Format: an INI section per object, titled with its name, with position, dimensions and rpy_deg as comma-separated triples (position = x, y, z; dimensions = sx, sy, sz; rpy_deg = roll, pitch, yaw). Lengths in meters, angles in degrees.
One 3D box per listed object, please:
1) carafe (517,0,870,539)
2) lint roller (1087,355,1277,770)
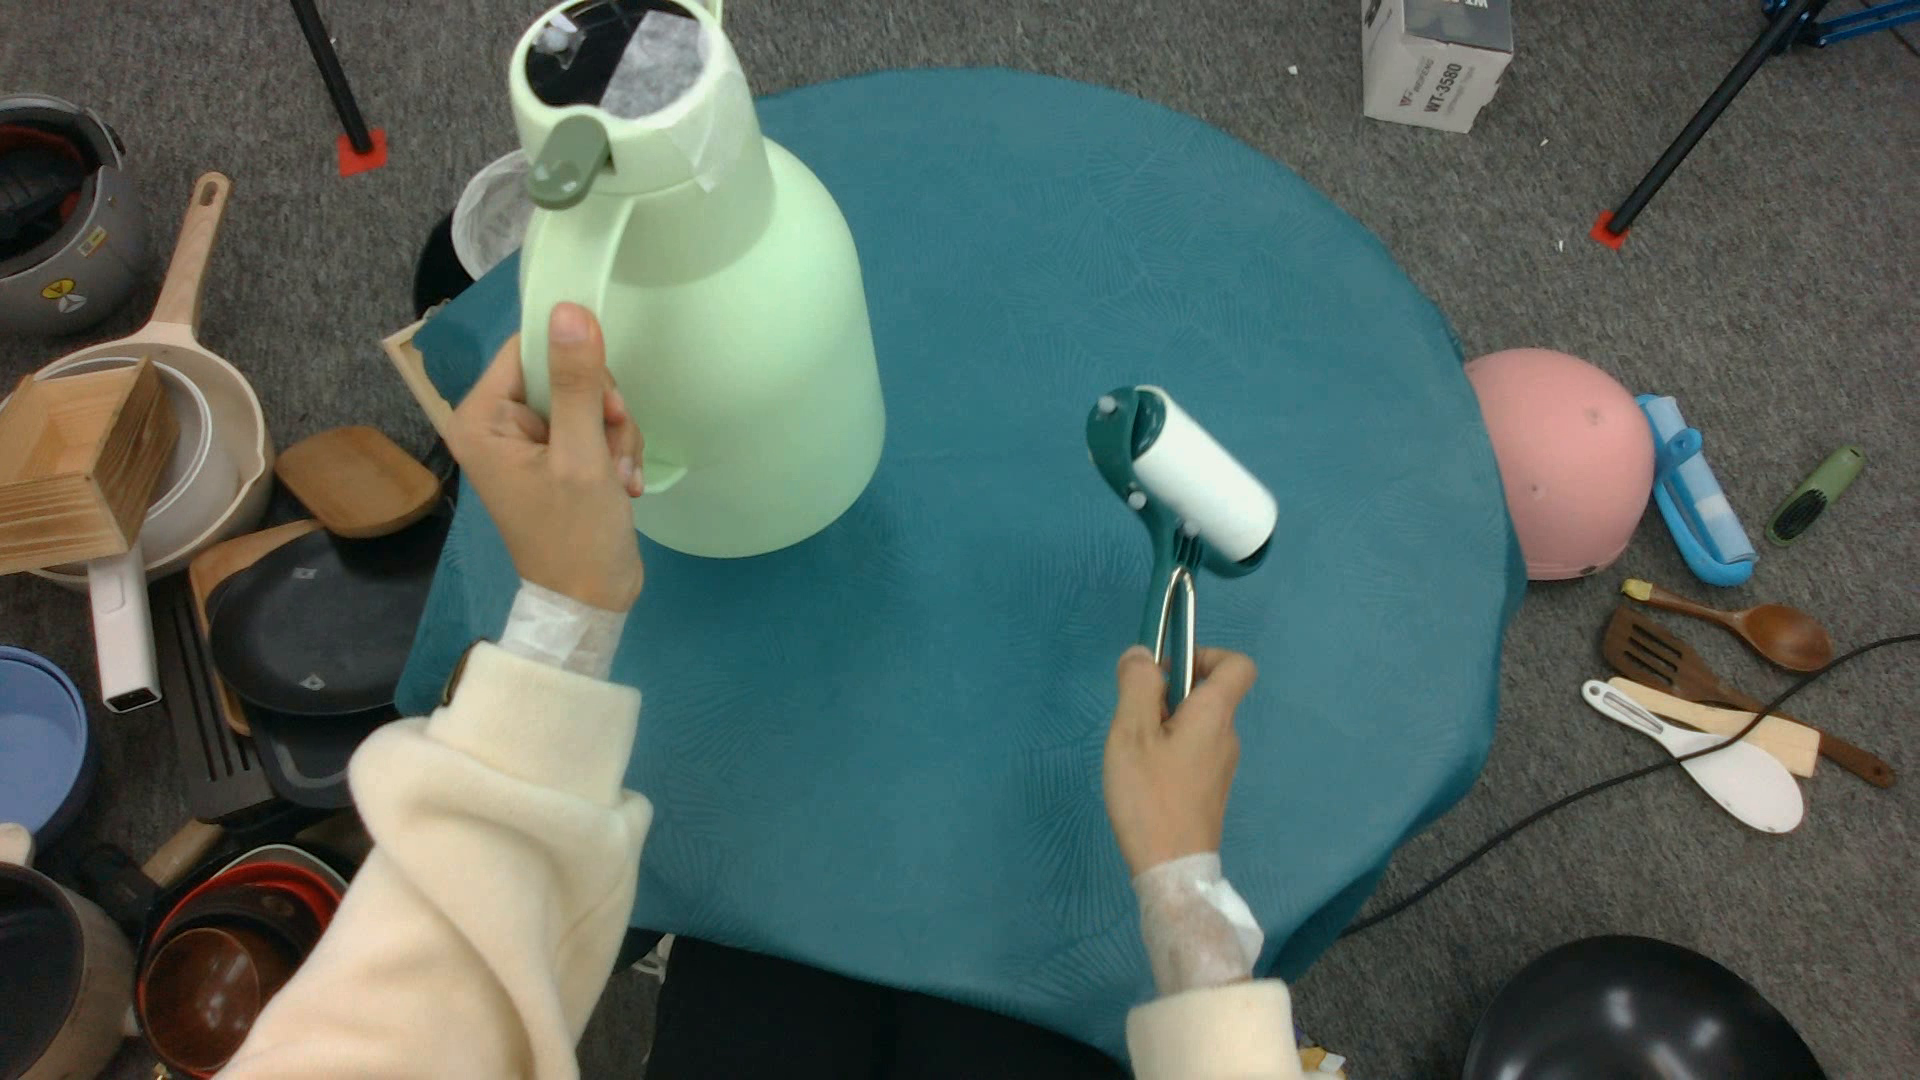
[carafe]
position = -0.120, -0.101, 0.584
dimensions = 0.144, 0.256, 0.187
rpy_deg = 13, 67, 6
[lint roller]
position = 0.106, 0.018, 0.641
dimensions = 0.134, 0.048, 0.181
rpy_deg = 35, 45, -38
